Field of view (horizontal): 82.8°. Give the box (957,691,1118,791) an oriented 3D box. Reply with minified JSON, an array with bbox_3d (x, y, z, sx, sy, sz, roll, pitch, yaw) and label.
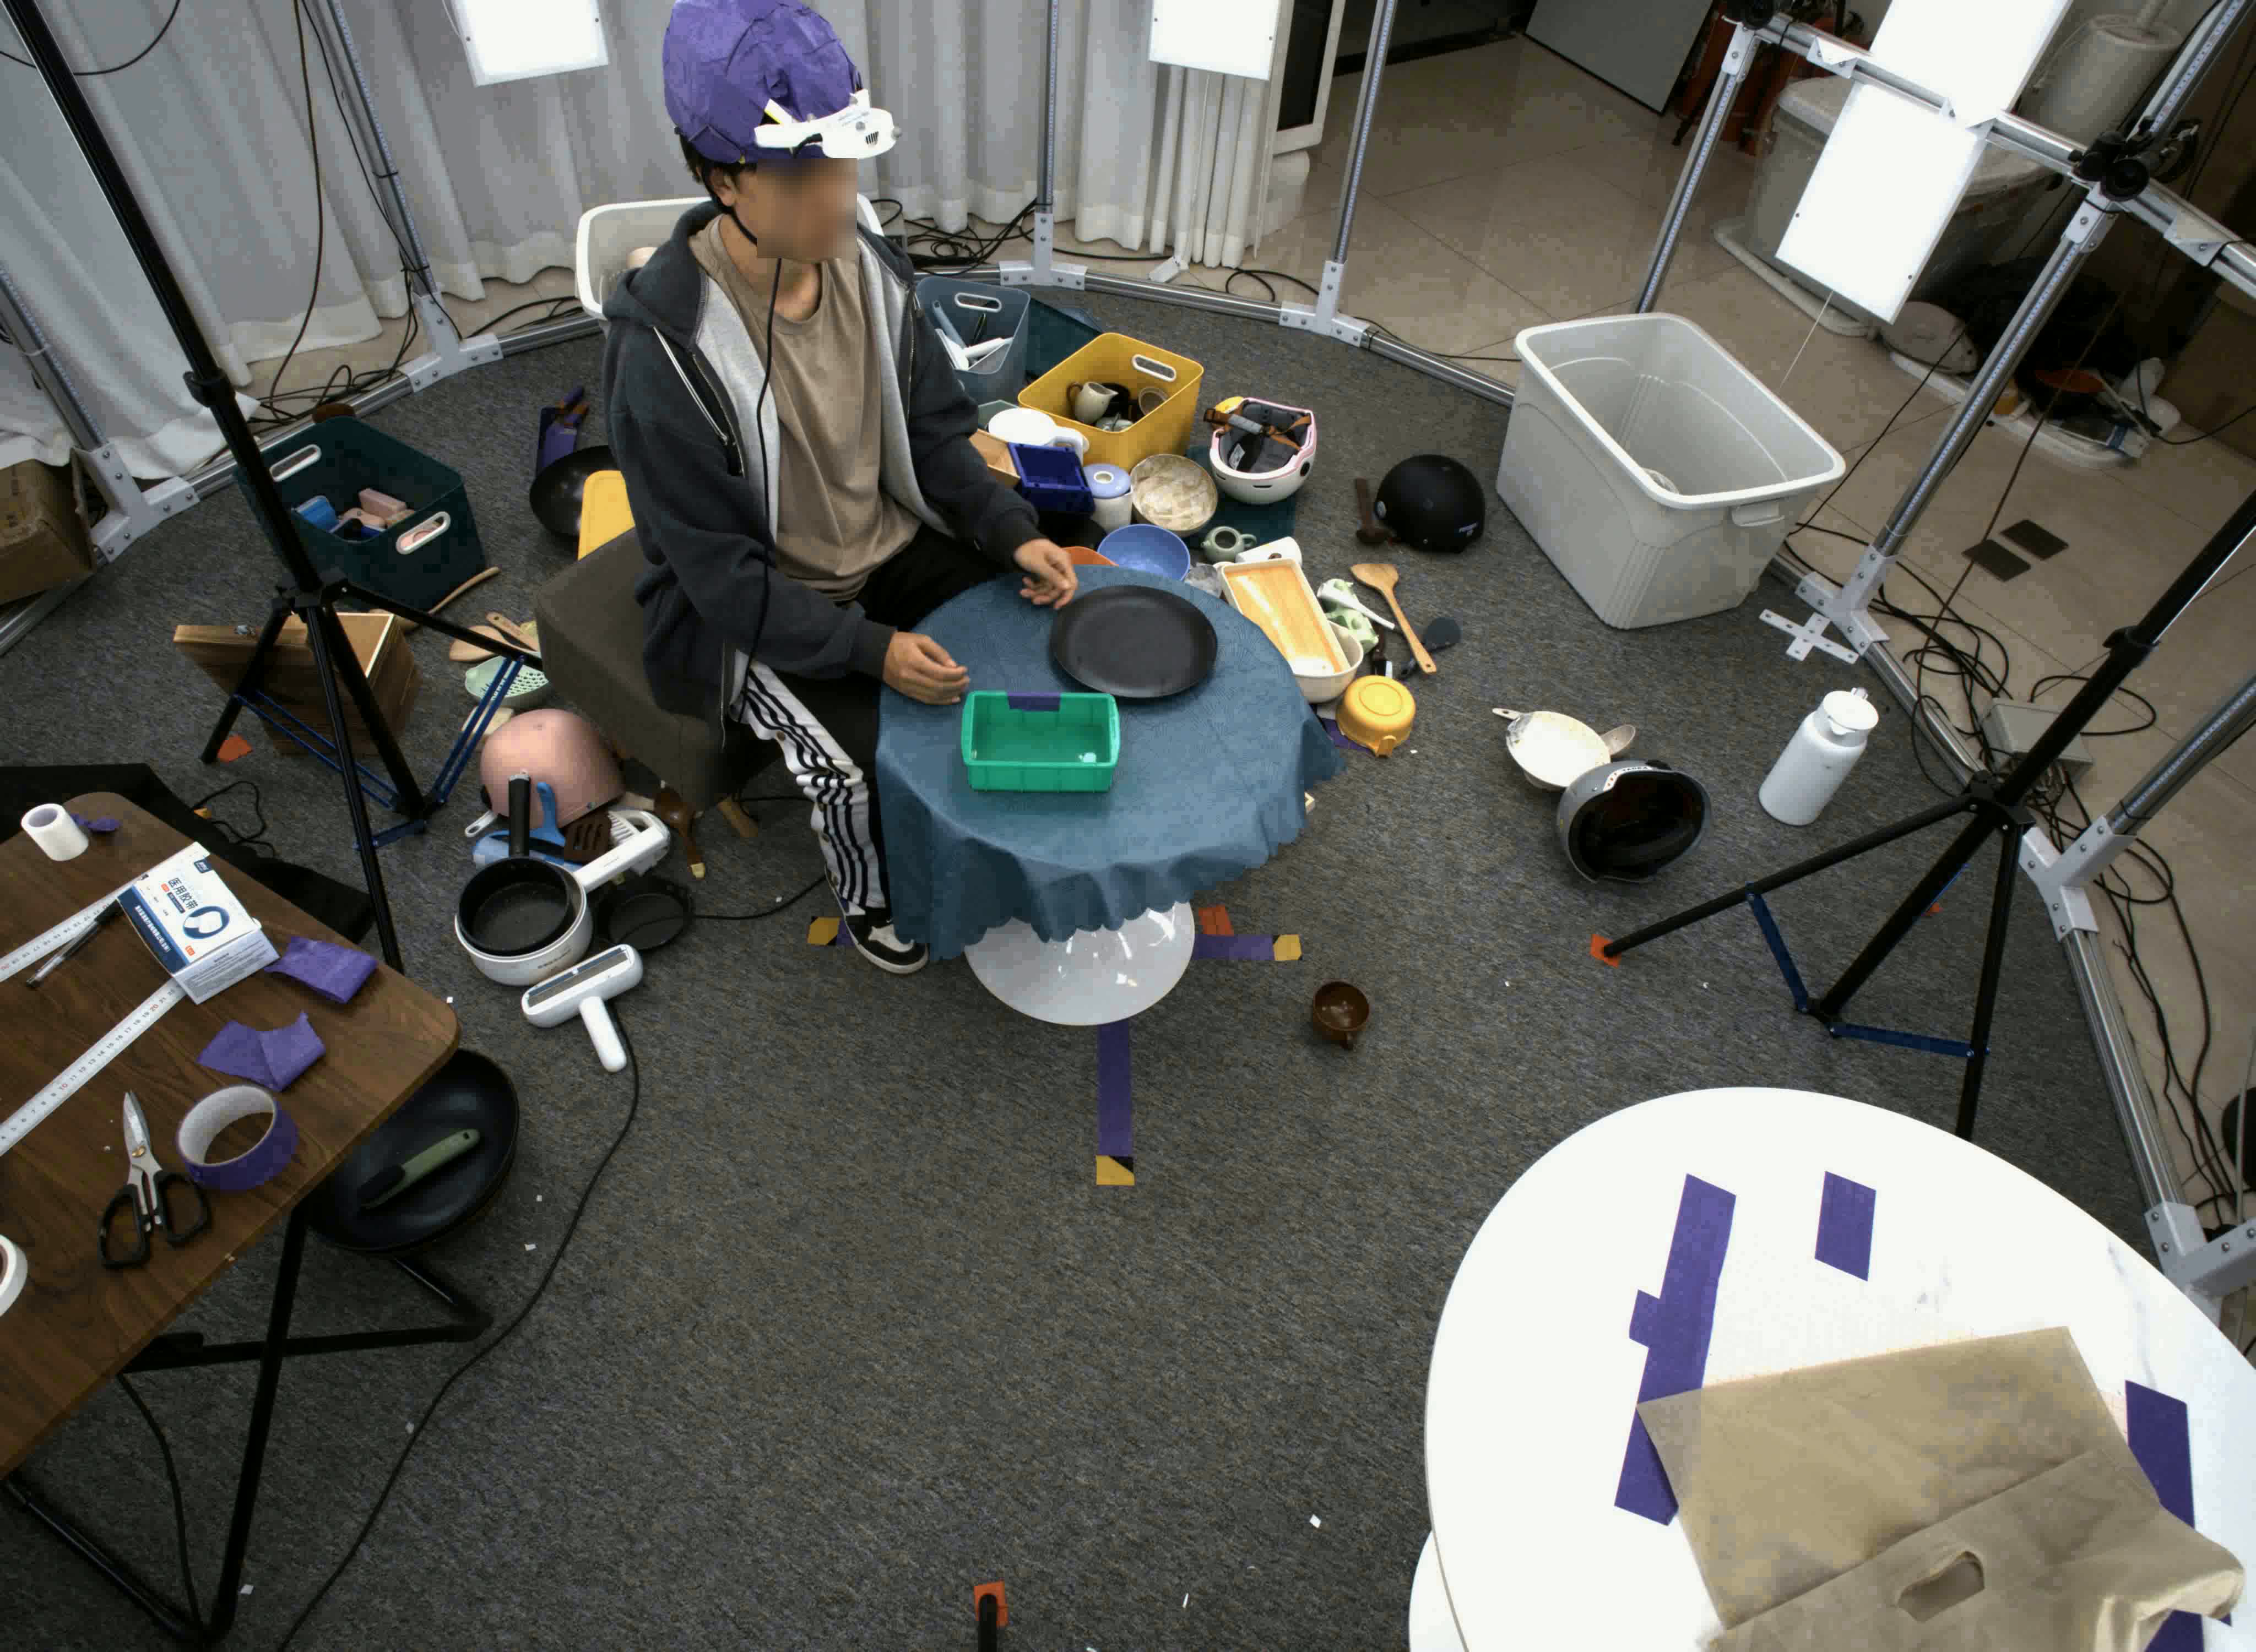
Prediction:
[{"bbox_3d":[-0.120,-0.111,1.713,0.210,0.064,0.142,-1,47,-3],"label":"box"}]

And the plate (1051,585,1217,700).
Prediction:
[{"bbox_3d":[0.009,-0.267,1.884,0.244,0.023,0.250,2,49,-2],"label":"plate"}]
